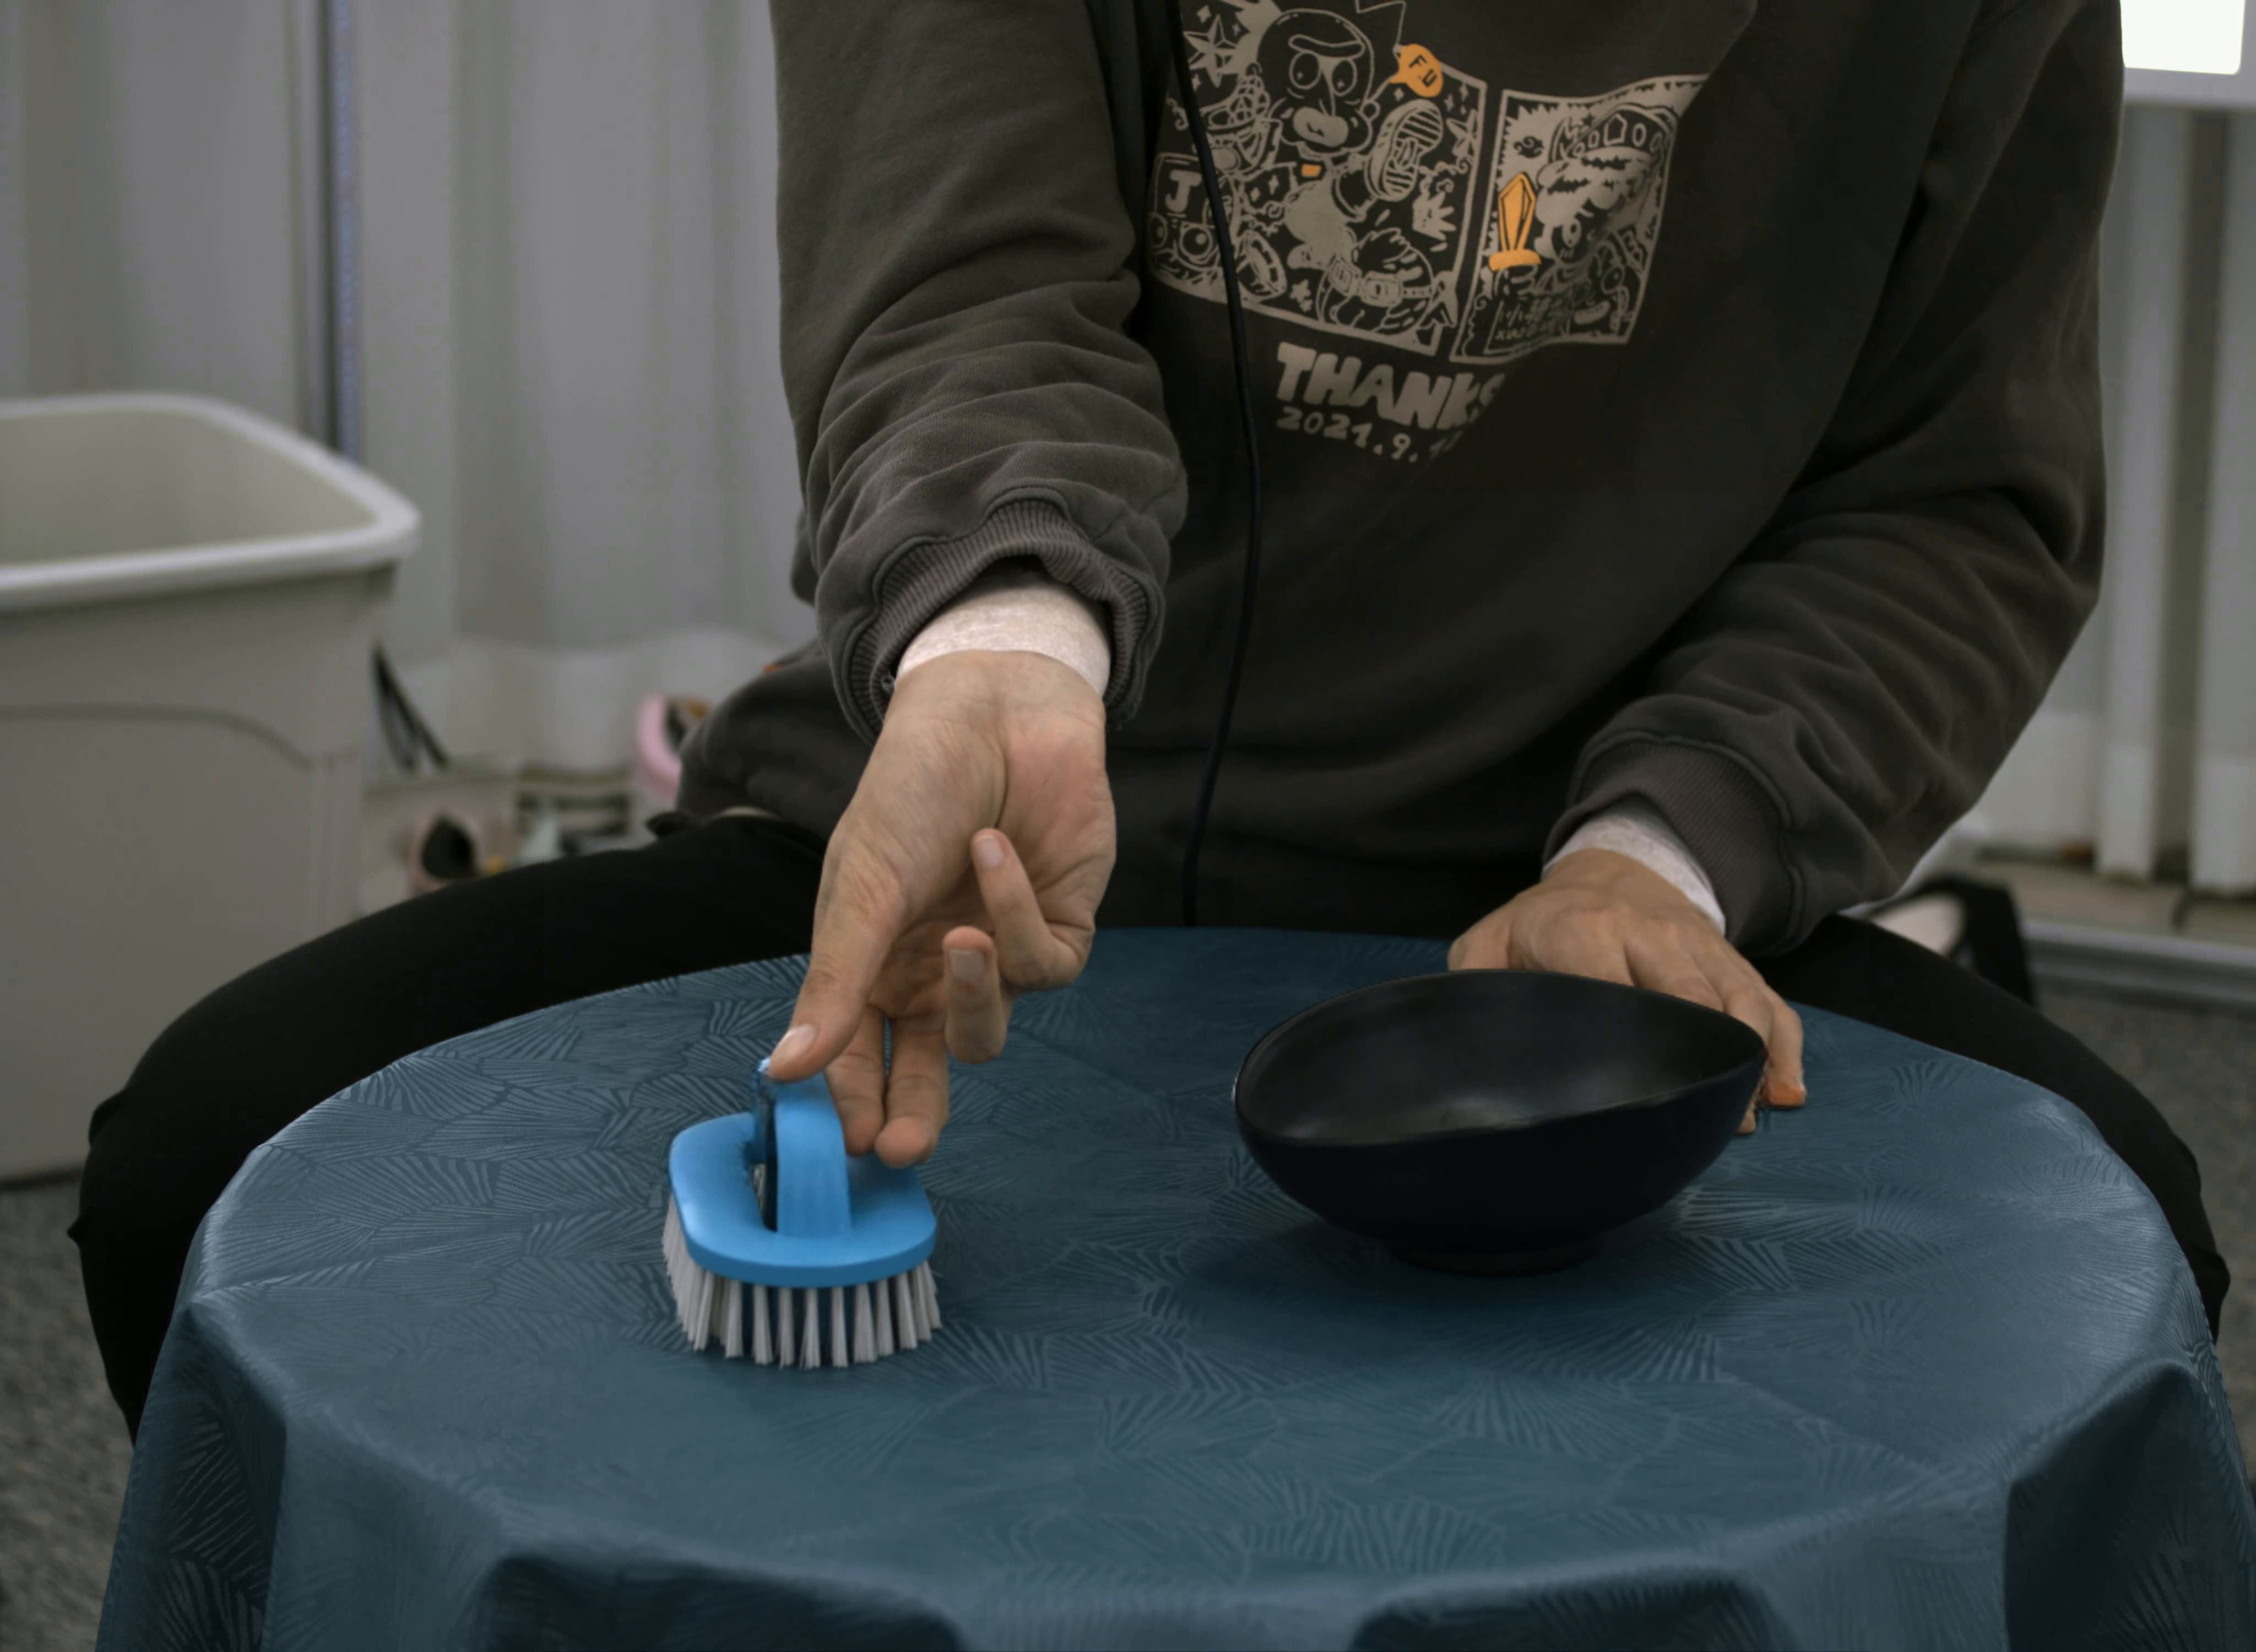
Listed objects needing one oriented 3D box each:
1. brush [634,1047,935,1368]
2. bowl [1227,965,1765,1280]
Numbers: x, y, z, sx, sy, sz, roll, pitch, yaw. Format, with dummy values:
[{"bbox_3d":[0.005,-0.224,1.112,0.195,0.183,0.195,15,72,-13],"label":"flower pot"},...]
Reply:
[{"bbox_3d":[-0.099,0.104,1.535,0.084,0.064,0.140,3,16,-9],"label":"brush"},{"bbox_3d":[0.112,0.095,1.581,0.171,0.067,0.135,-11,18,-30],"label":"bowl"}]
